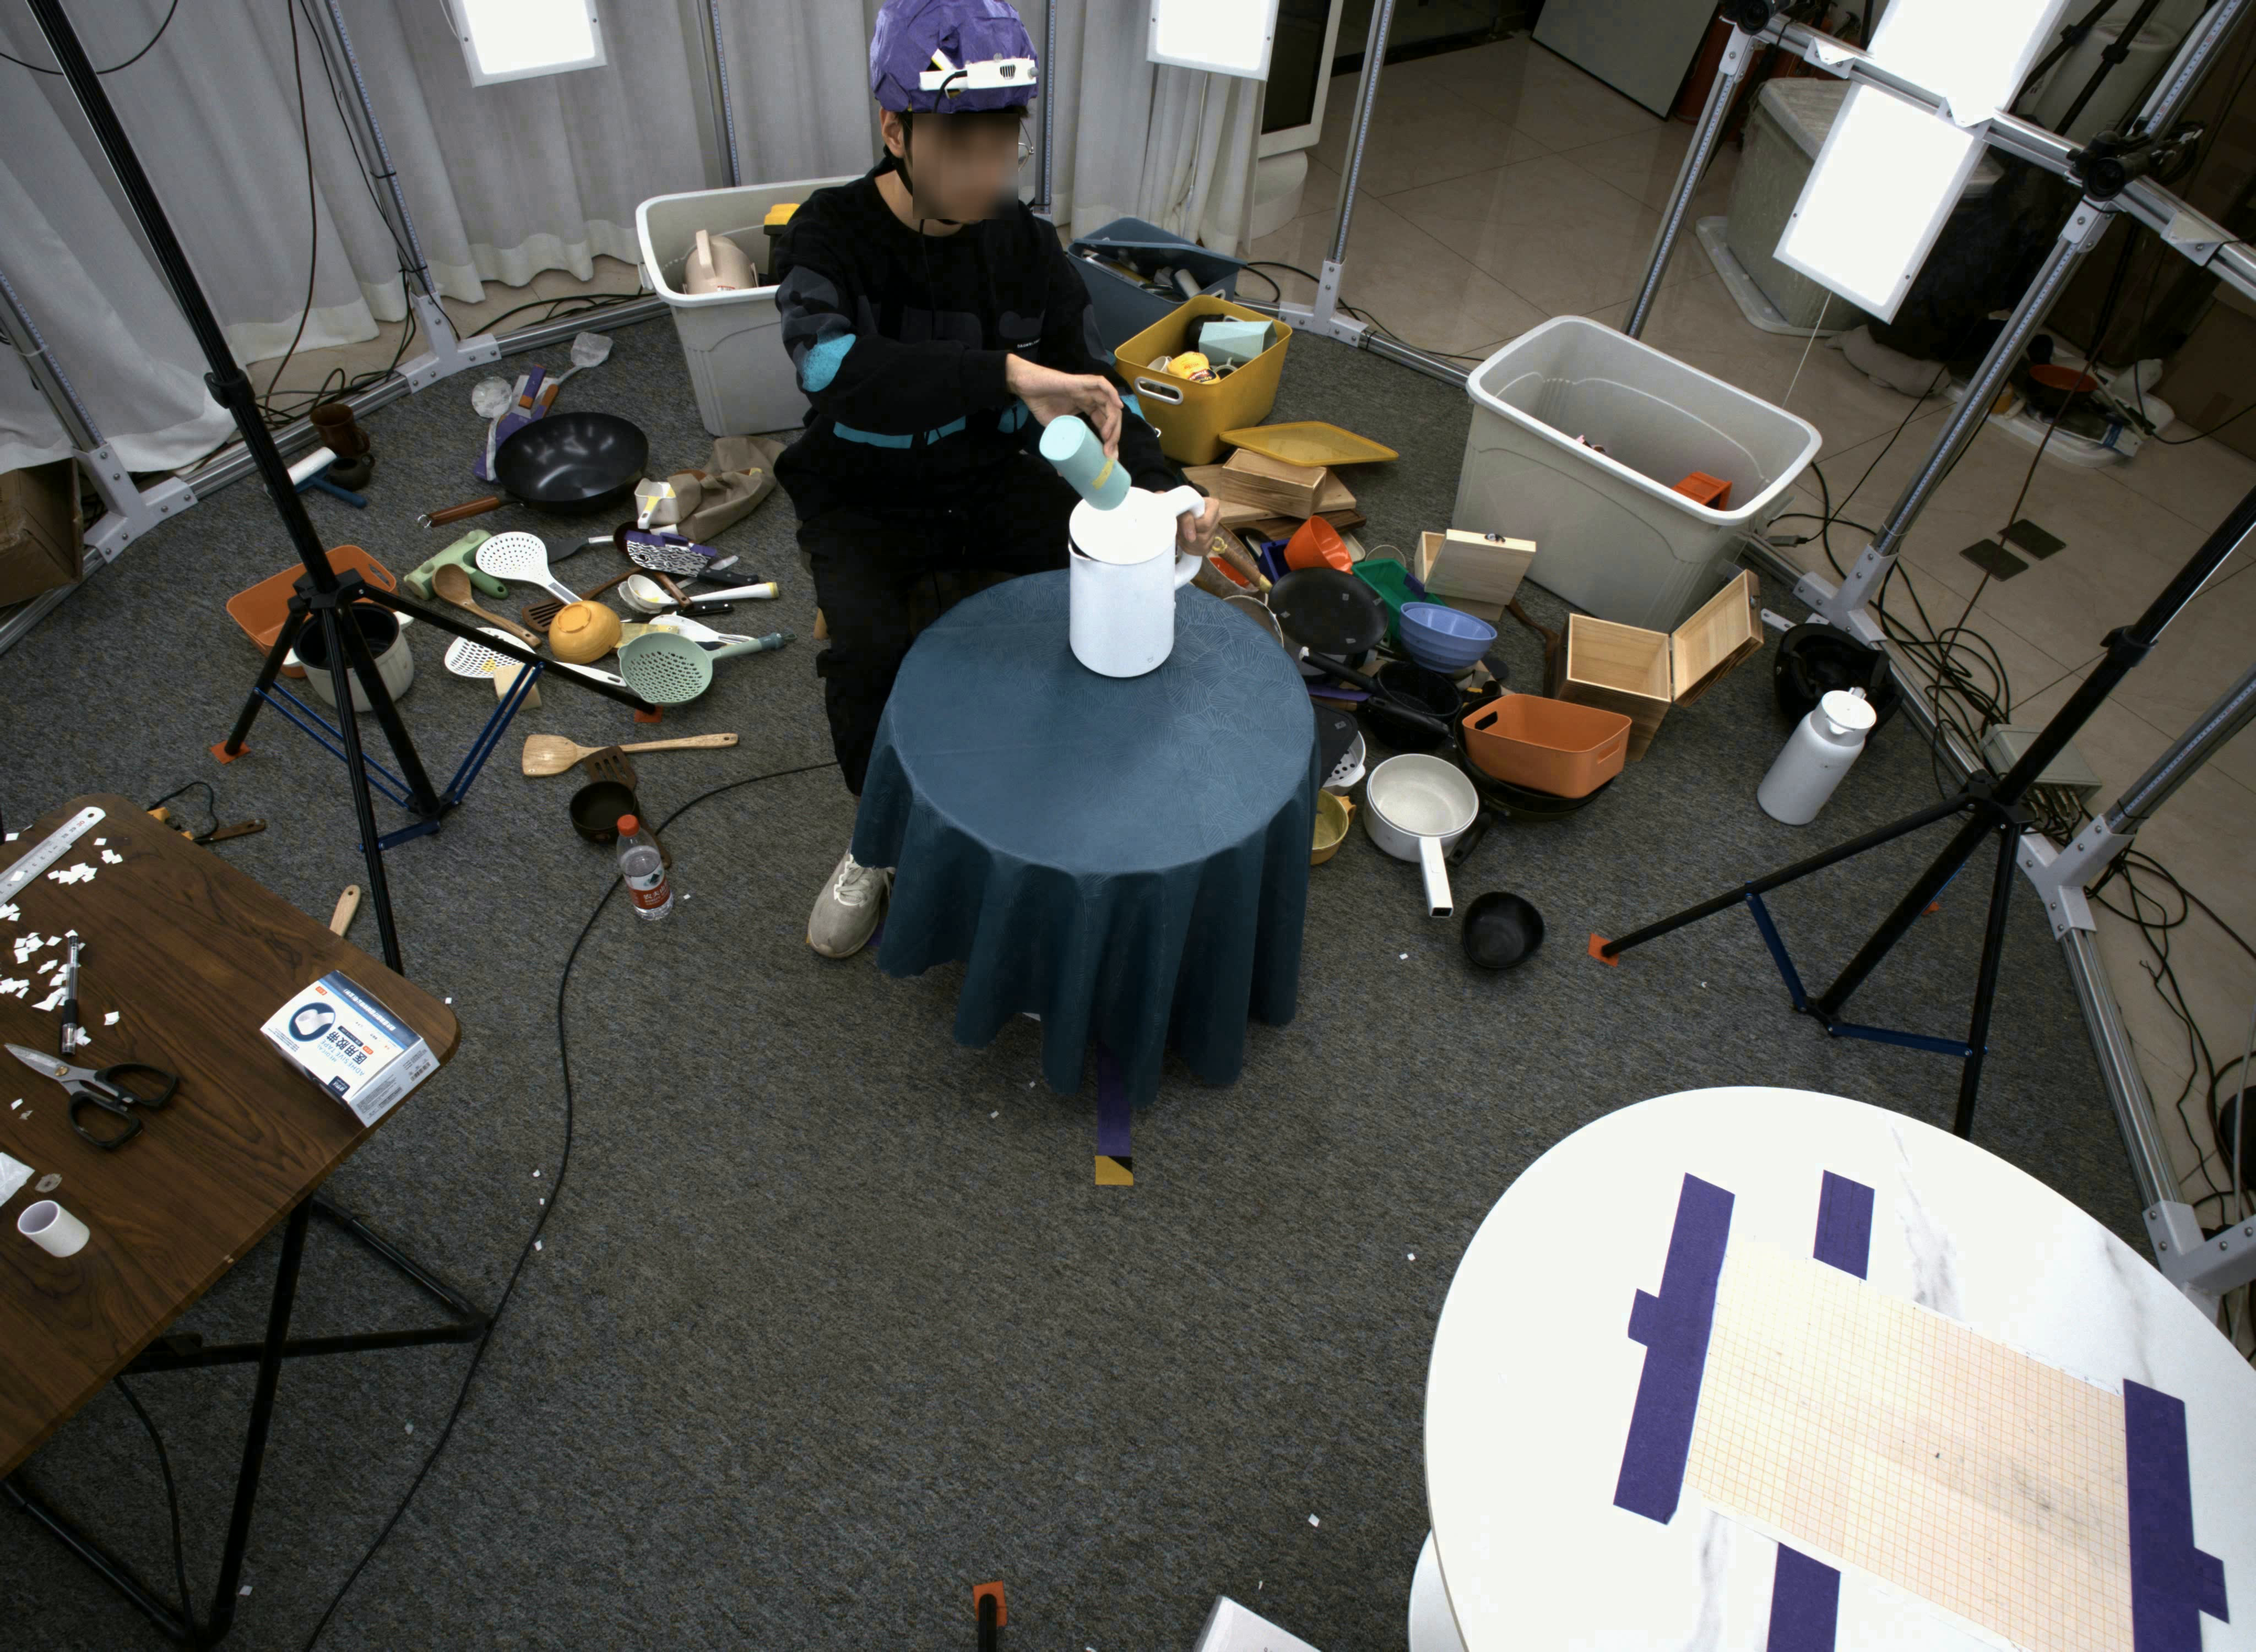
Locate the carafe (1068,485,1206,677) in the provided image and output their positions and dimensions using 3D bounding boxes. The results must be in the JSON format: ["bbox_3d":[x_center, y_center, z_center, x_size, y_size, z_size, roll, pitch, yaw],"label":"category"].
[{"bbox_3d":[0.015,-0.351,1.804,0.214,0.235,0.155,-30,62,-18],"label":"carafe"}]

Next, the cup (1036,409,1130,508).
[{"bbox_3d":[-0.056,-0.456,1.609,0.067,0.130,0.068,-9,70,25],"label":"cup"}]
